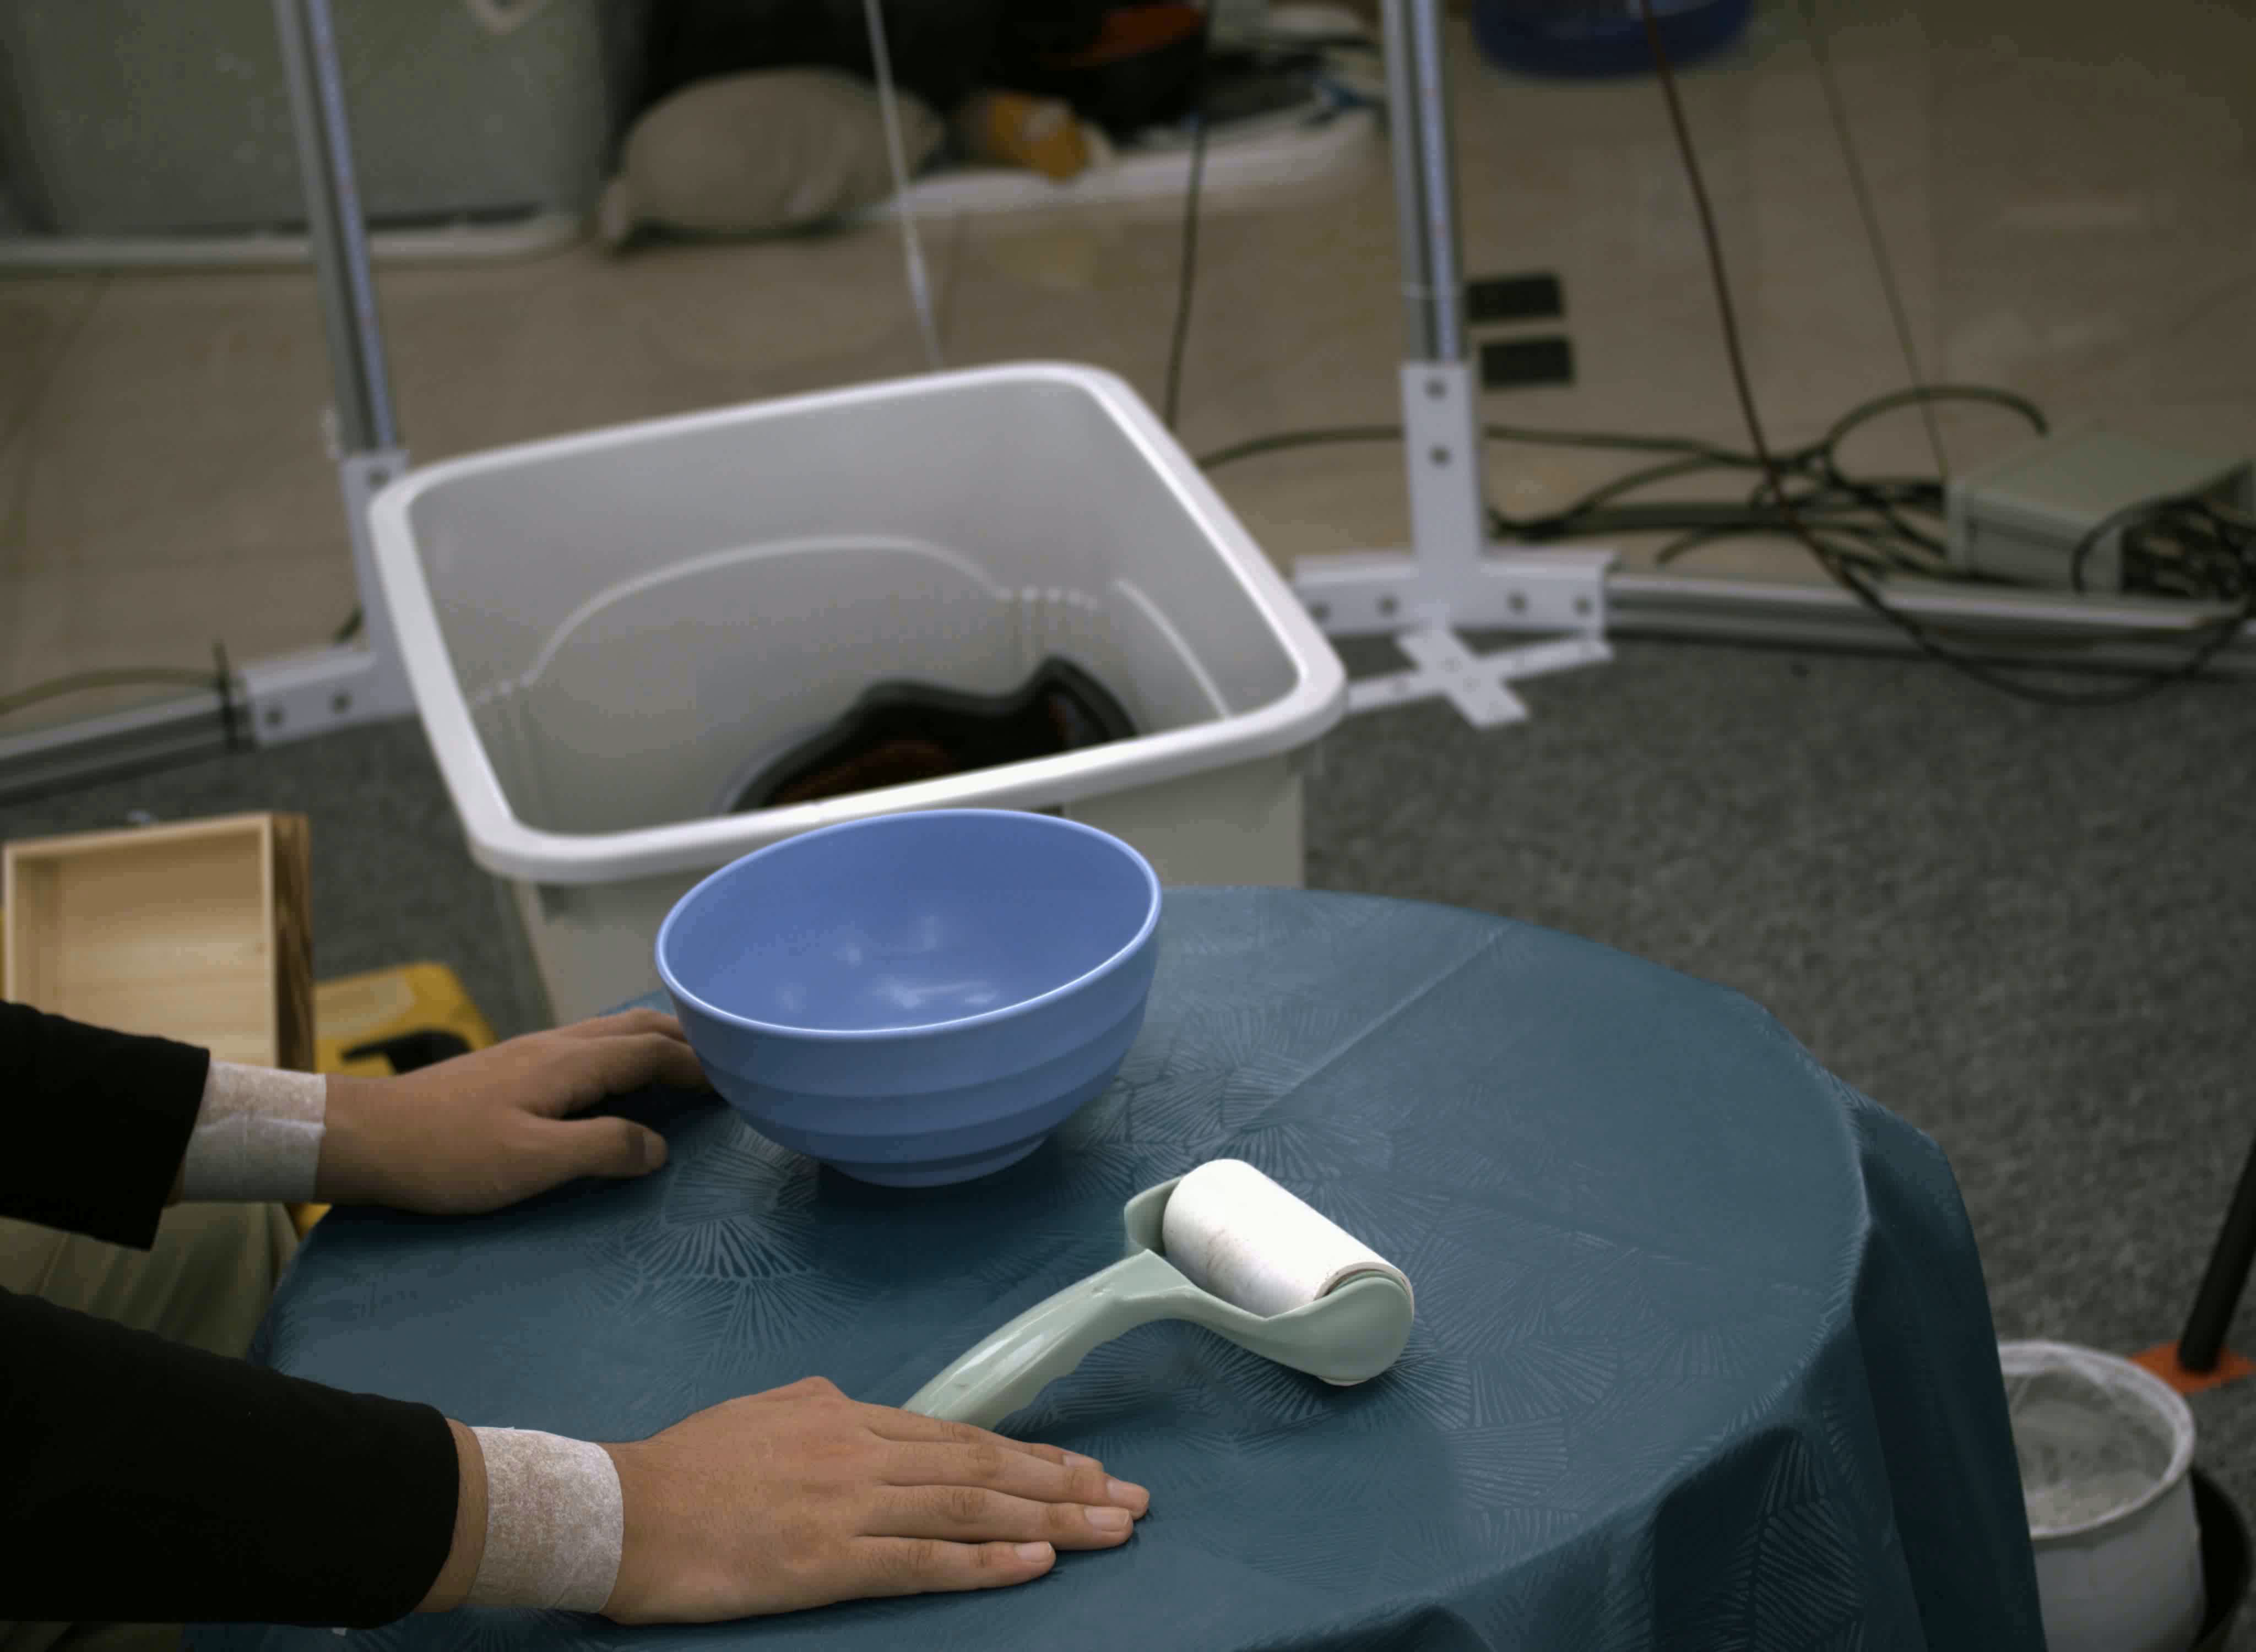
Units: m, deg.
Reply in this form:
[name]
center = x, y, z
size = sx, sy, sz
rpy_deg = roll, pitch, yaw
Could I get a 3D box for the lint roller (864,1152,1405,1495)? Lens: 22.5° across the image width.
[lint roller]
center = -0.010, 0.179, 2.010
size = 0.196, 0.049, 0.115
rpy_deg = -20, 30, -24

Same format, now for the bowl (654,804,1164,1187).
[bowl]
center = -0.080, 0.076, 2.187
size = 0.196, 0.097, 0.193
rpy_deg = -5, 26, 2
